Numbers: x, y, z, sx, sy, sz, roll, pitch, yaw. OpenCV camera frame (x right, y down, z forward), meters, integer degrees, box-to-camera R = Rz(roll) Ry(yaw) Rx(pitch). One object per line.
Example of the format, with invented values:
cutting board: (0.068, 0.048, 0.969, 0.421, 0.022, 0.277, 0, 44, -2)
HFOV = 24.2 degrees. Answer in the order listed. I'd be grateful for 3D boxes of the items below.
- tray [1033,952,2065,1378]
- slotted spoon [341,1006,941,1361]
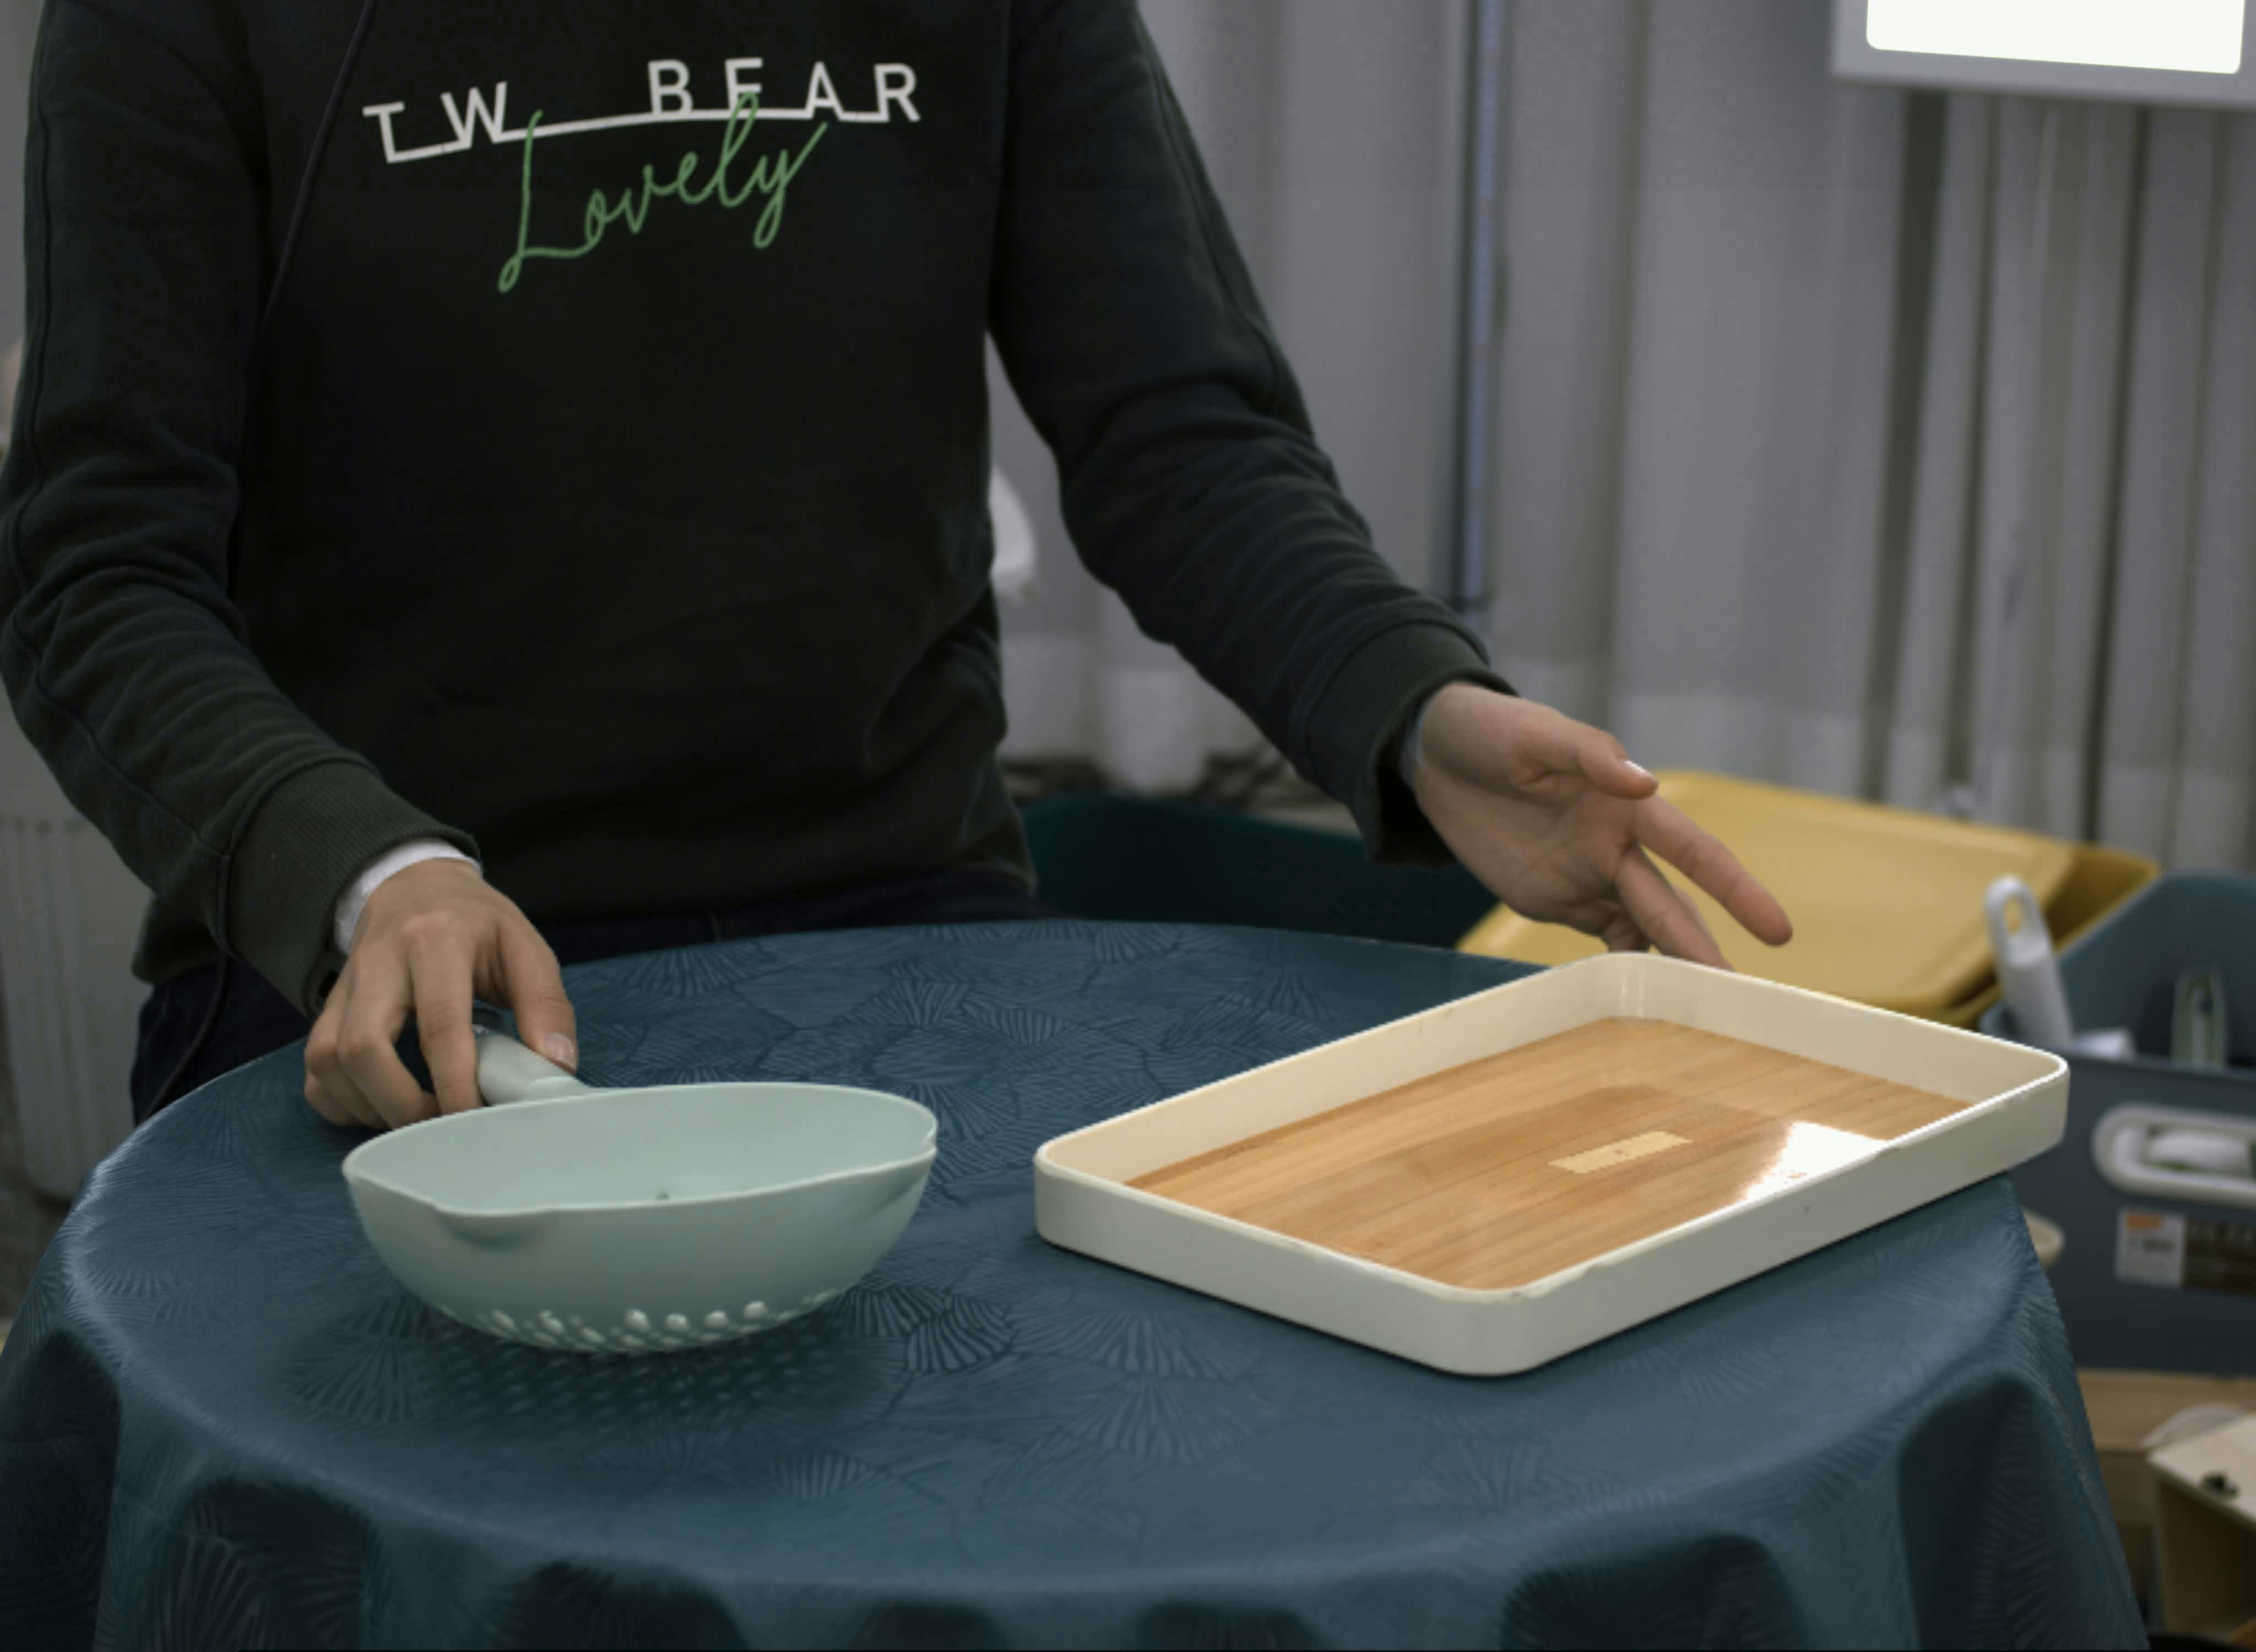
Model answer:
tray: (0.134, 0.099, 1.630, 0.189, 0.027, 0.302, 15, 21, 41)
slotted spoon: (-0.168, 0.090, 1.579, 0.170, 0.076, 0.355, -5, 17, -19)
